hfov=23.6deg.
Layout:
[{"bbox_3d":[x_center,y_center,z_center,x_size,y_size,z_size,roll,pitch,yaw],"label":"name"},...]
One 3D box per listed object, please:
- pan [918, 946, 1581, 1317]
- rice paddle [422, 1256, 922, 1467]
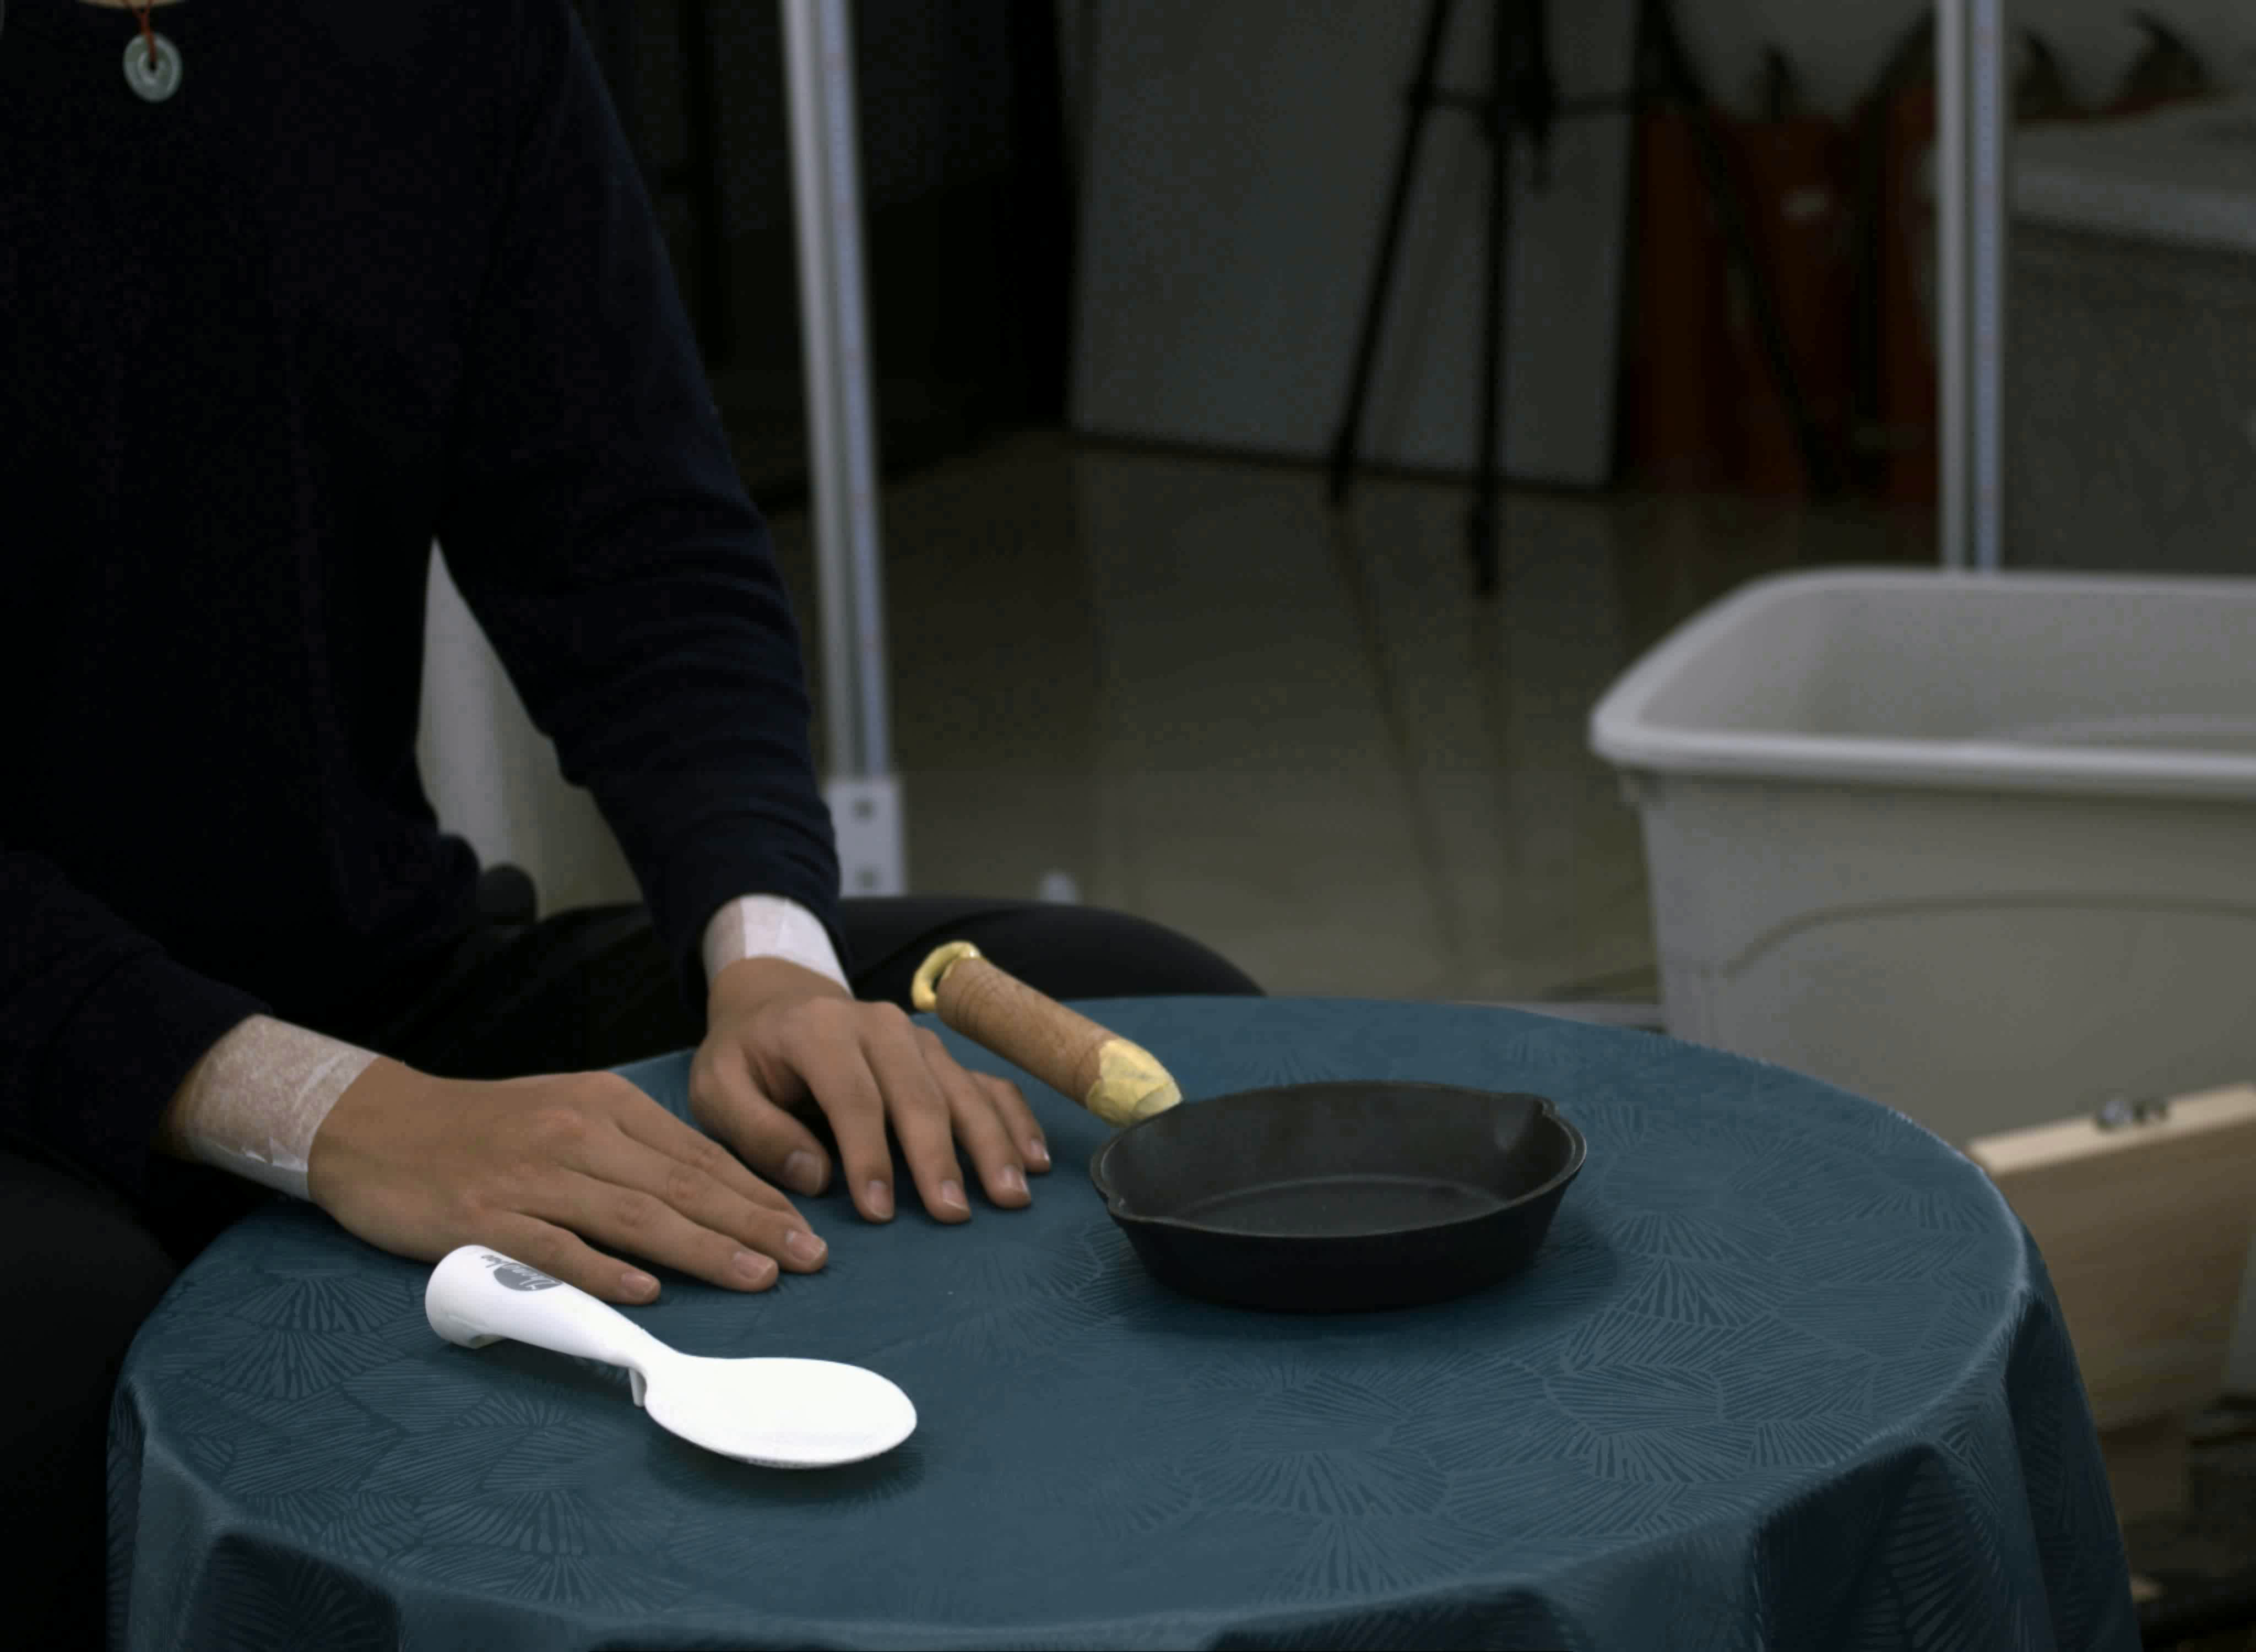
[{"bbox_3d":[0.021,0.095,1.763,0.165,0.050,0.328,-12,17,-29],"label":"pan"},{"bbox_3d":[-0.137,0.159,1.597,0.067,0.030,0.207,-18,19,-39],"label":"rice paddle"}]
